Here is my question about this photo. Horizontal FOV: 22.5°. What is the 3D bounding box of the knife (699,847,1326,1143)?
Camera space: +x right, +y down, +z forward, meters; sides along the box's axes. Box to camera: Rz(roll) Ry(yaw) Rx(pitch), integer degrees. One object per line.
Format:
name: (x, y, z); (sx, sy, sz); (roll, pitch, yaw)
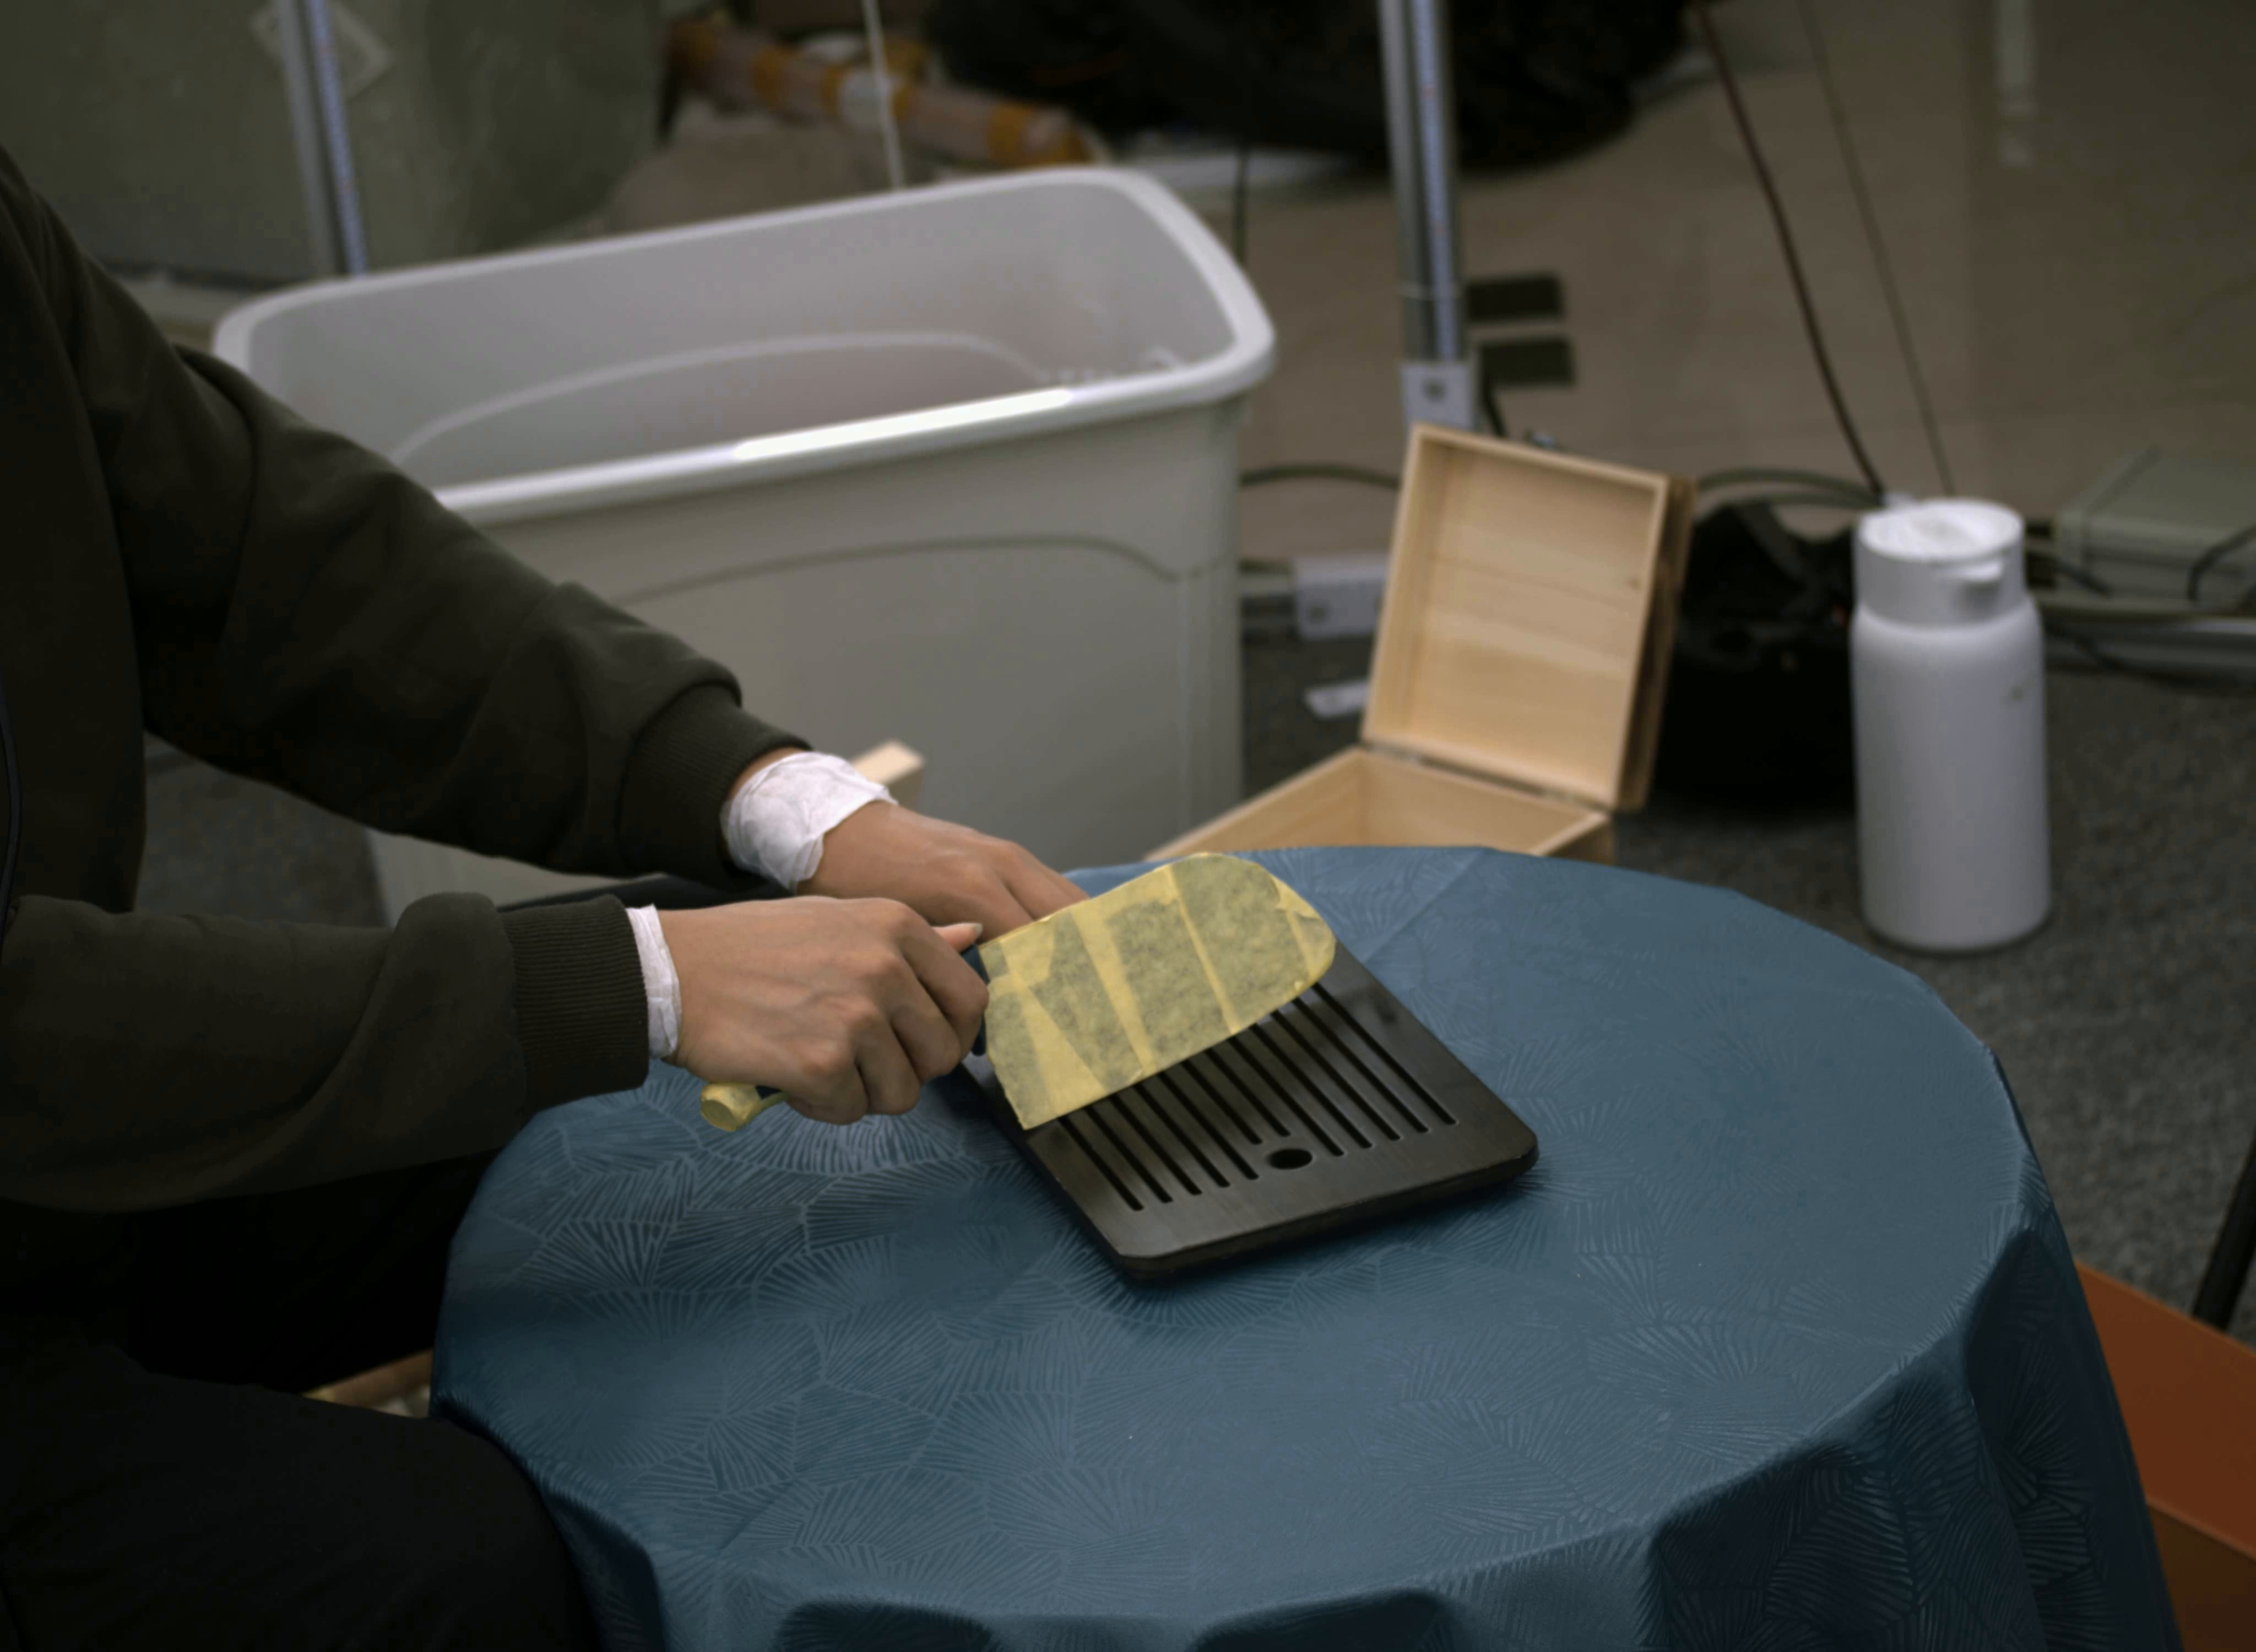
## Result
knife: (-0.038, 0.075, 2.180); (0.288, 0.081, 0.027); (-20, -3, -31)

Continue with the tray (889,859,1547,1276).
tray: (0.030, 0.092, 2.223); (0.169, 0.019, 0.302); (-15, 26, -16)
